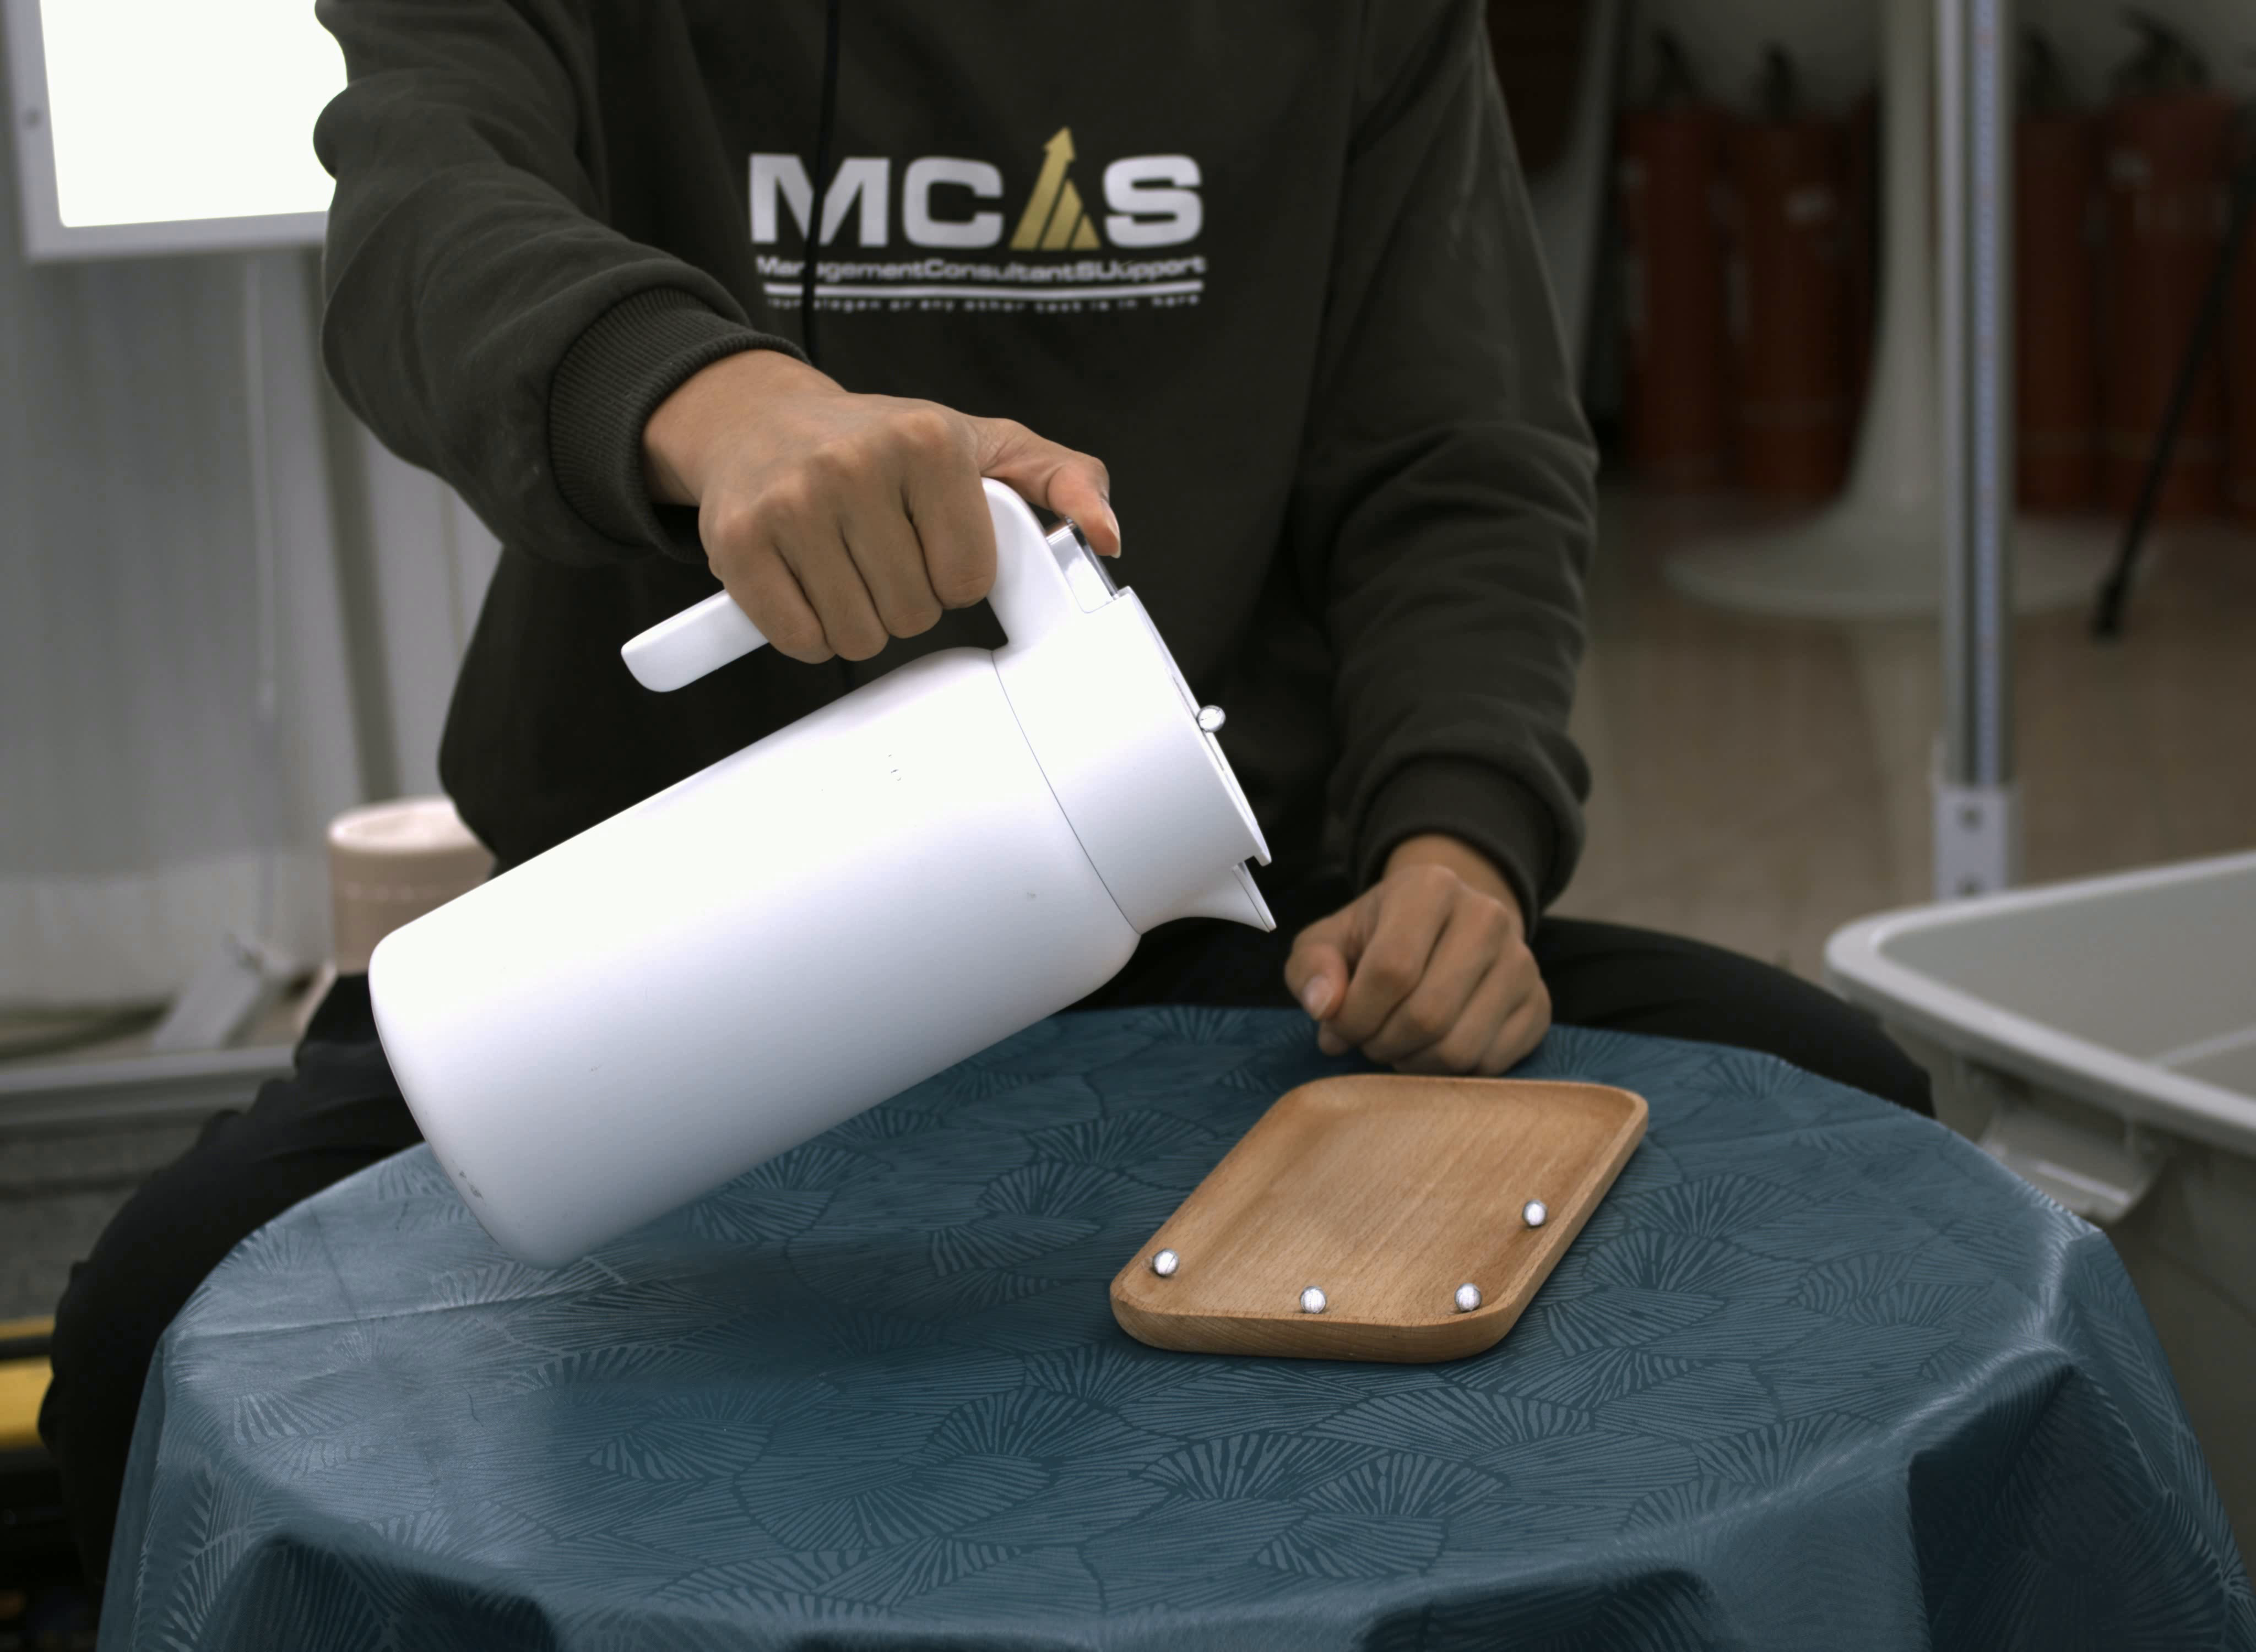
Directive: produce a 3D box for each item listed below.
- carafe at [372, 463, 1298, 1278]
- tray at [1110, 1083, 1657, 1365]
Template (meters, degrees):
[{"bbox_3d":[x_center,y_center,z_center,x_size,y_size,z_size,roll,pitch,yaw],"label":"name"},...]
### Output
[{"bbox_3d":[-0.101,0.013,1.655,0.267,0.173,0.124,-28,8,6],"label":"carafe"},{"bbox_3d":[0.085,0.124,1.711,0.130,0.023,0.248,3,14,19],"label":"tray"}]
